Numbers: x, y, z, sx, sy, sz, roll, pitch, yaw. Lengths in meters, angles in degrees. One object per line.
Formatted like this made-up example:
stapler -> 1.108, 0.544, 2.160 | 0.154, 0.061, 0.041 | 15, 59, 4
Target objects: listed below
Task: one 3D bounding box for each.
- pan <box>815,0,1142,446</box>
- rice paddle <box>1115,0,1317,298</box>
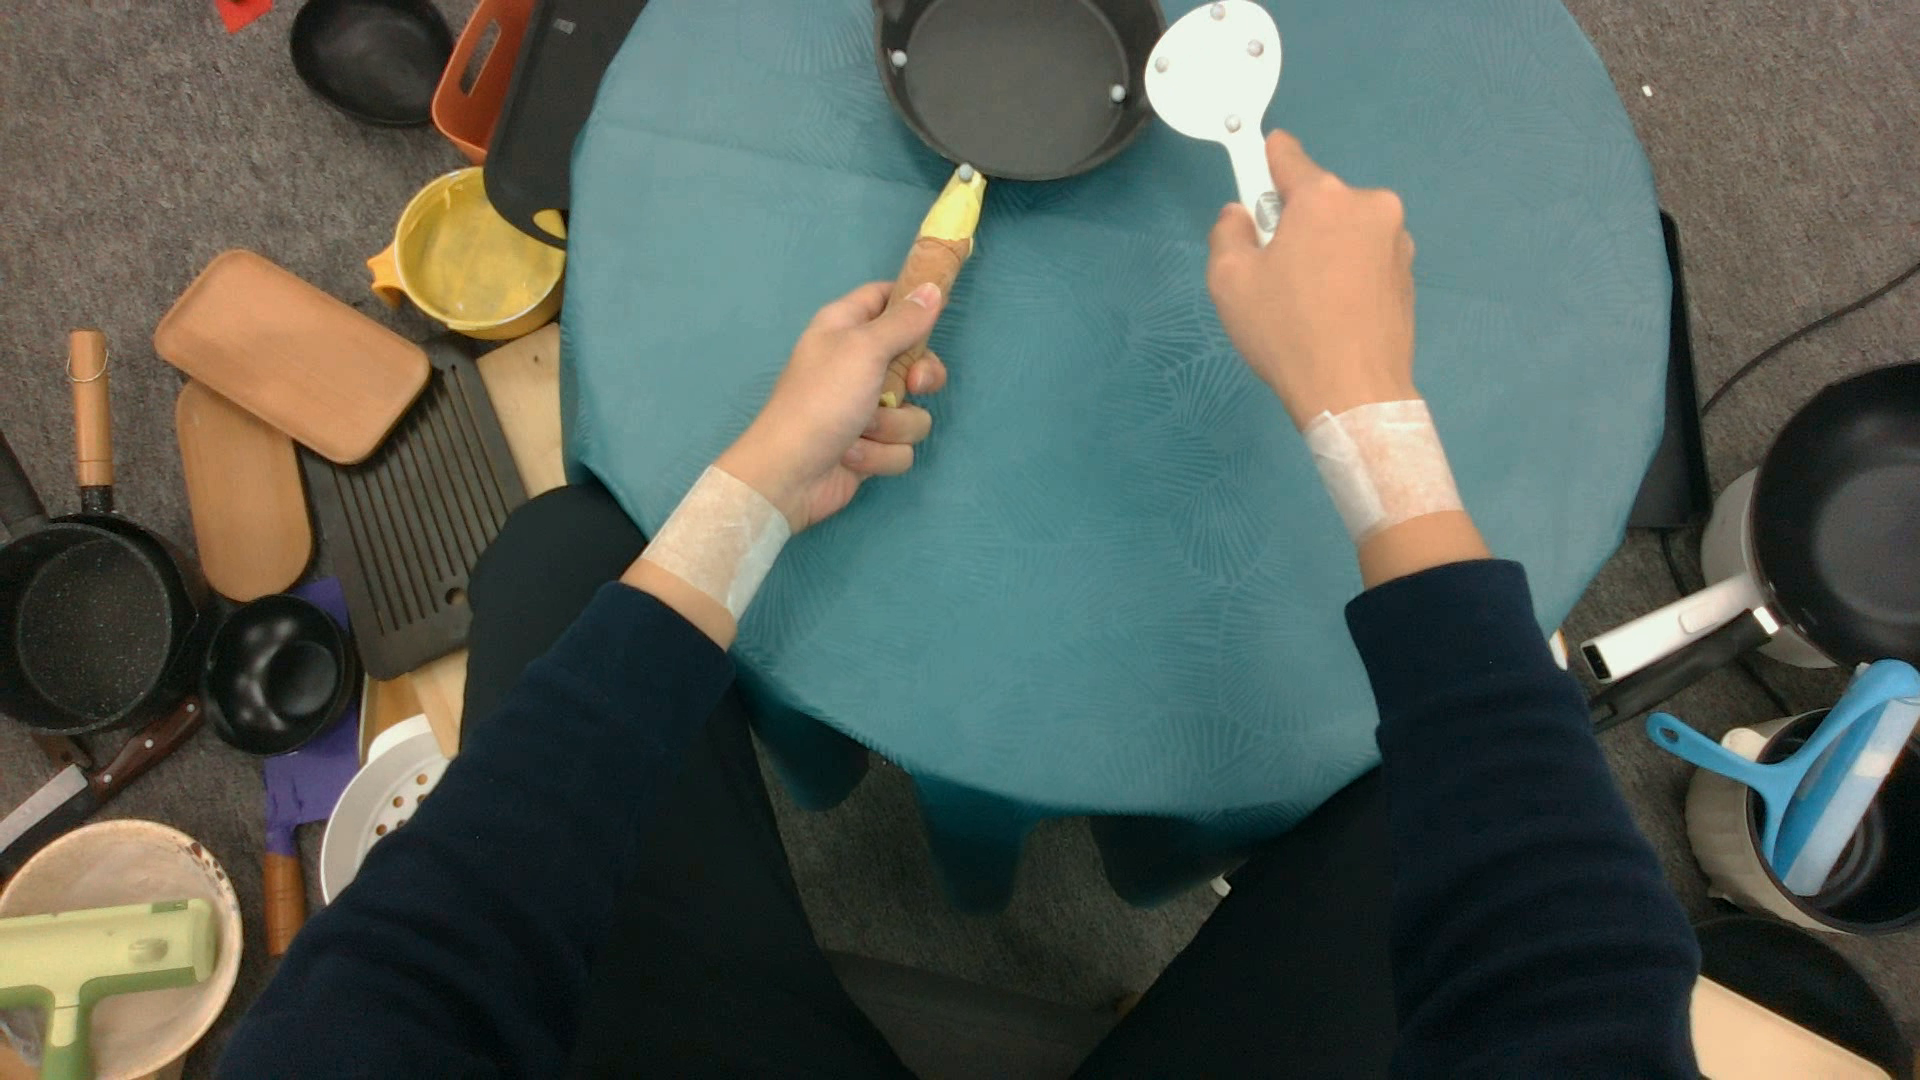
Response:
pan -> -0.010, -0.190, 0.714 | 0.169, 0.049, 0.325 | 22, 73, 0
rice paddle -> 0.122, -0.199, 0.663 | 0.068, 0.029, 0.206 | -28, 52, 19
